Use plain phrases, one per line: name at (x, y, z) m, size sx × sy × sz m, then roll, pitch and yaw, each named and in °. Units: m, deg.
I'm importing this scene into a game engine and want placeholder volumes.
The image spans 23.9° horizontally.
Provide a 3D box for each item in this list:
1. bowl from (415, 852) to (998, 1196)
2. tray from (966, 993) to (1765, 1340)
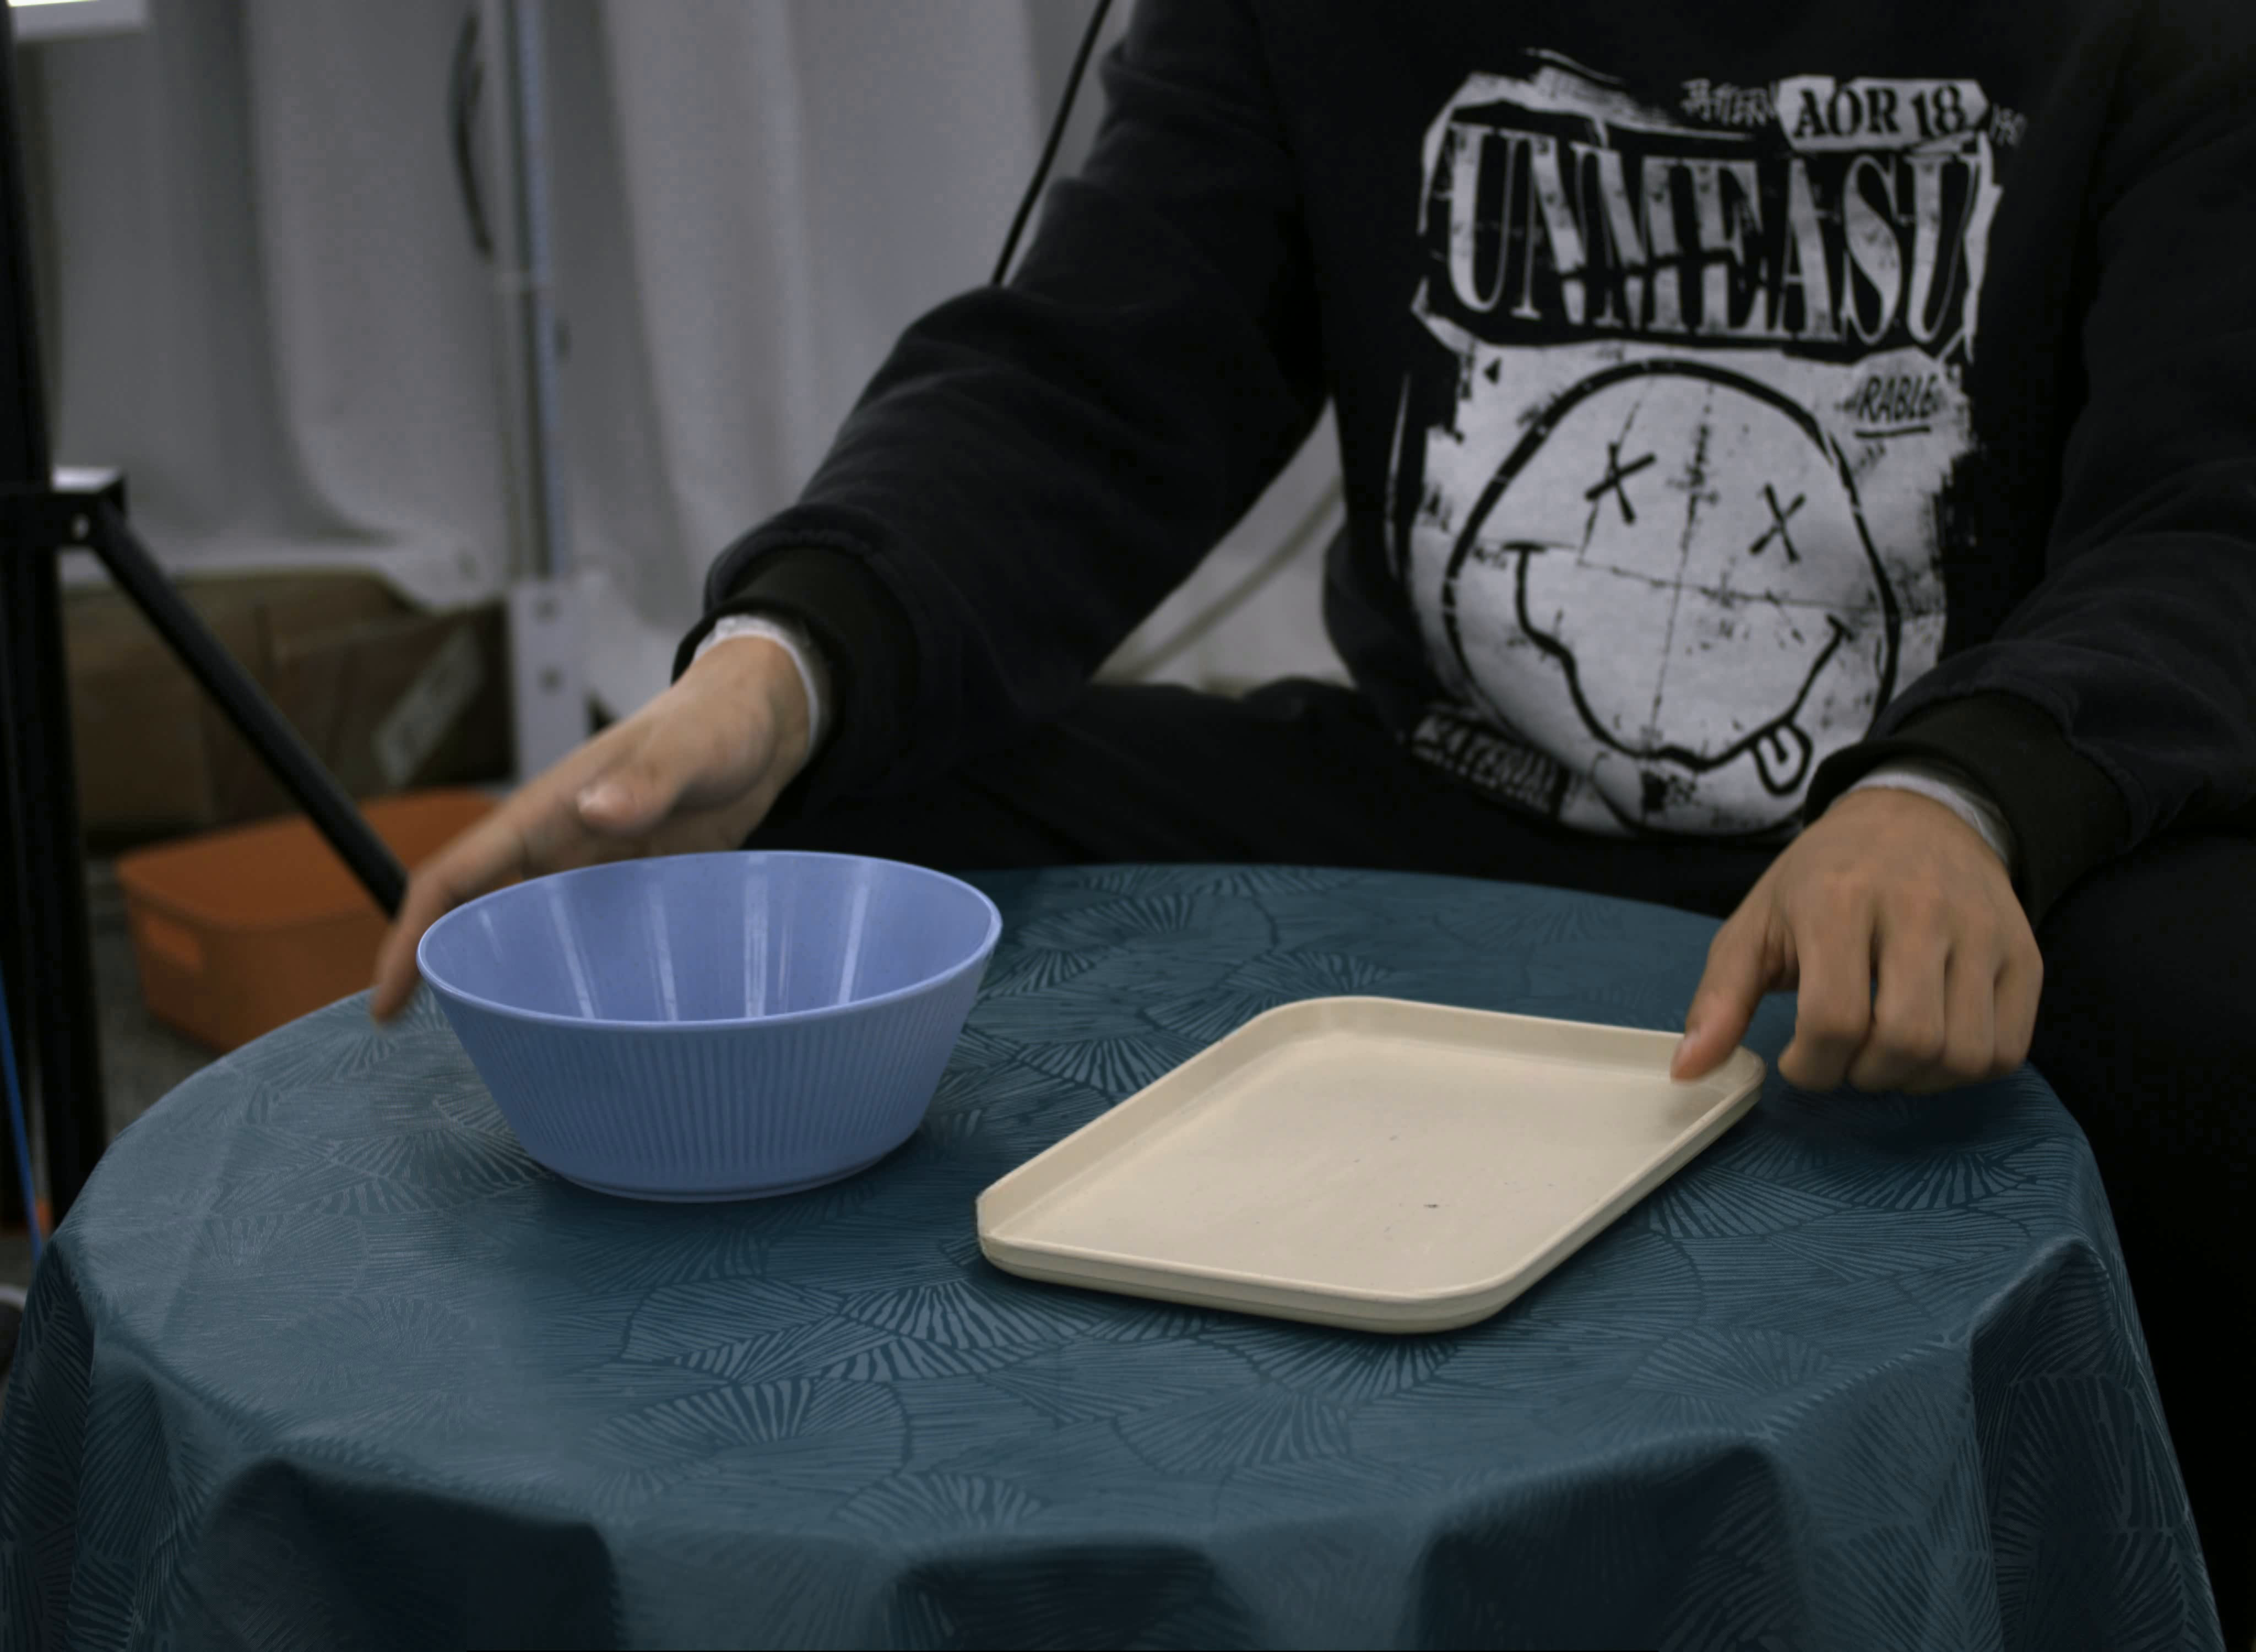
bowl at (-0.126, 0.062, 1.611) m, size 0.175 × 0.070 × 0.177 m, roll -2°, pitch 16°, yaw -1°
tray at (0.073, 0.098, 1.549) m, size 0.174 × 0.017 × 0.235 m, roll 7°, pitch 18°, yaw 29°
